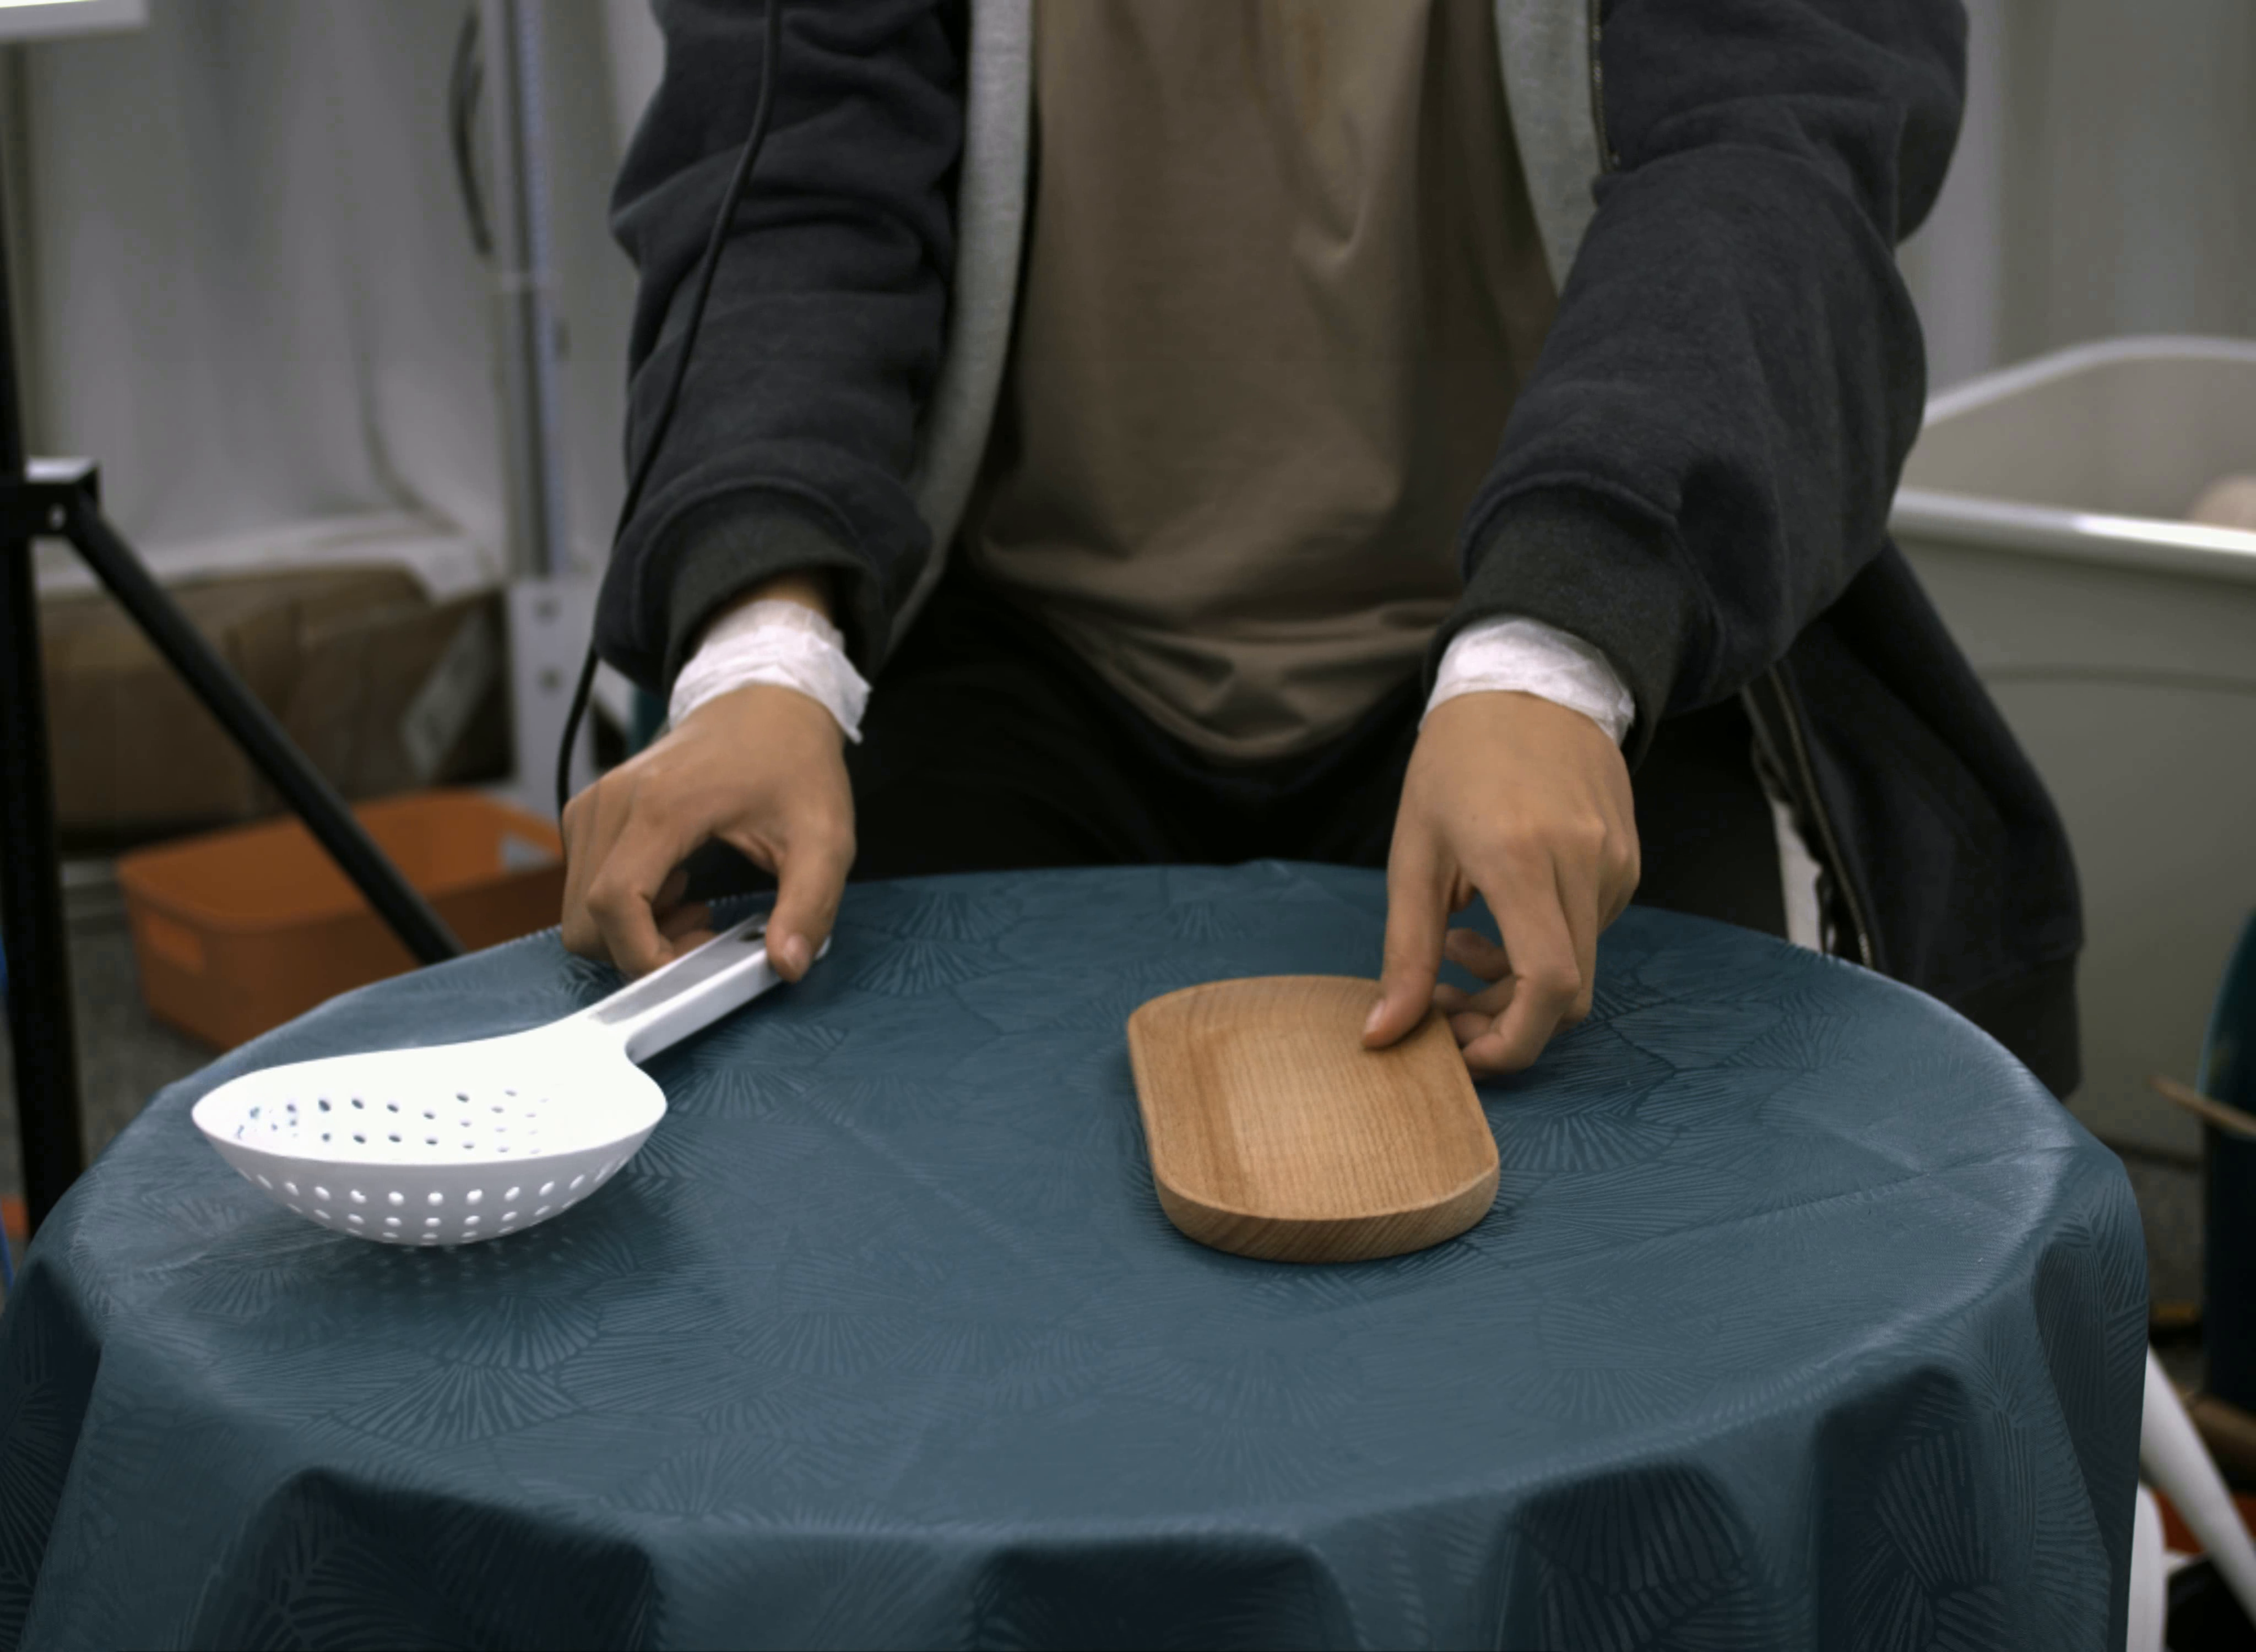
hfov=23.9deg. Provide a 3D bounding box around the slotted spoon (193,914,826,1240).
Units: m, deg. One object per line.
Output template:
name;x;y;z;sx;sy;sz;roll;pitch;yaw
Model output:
slotted spoon;-0.169;0.068;1.646;0.137;0.046;0.346;5;17;18

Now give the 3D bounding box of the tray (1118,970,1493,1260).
tray;0.052;0.085;1.603;0.101;0.020;0.232;-2;15;-3
